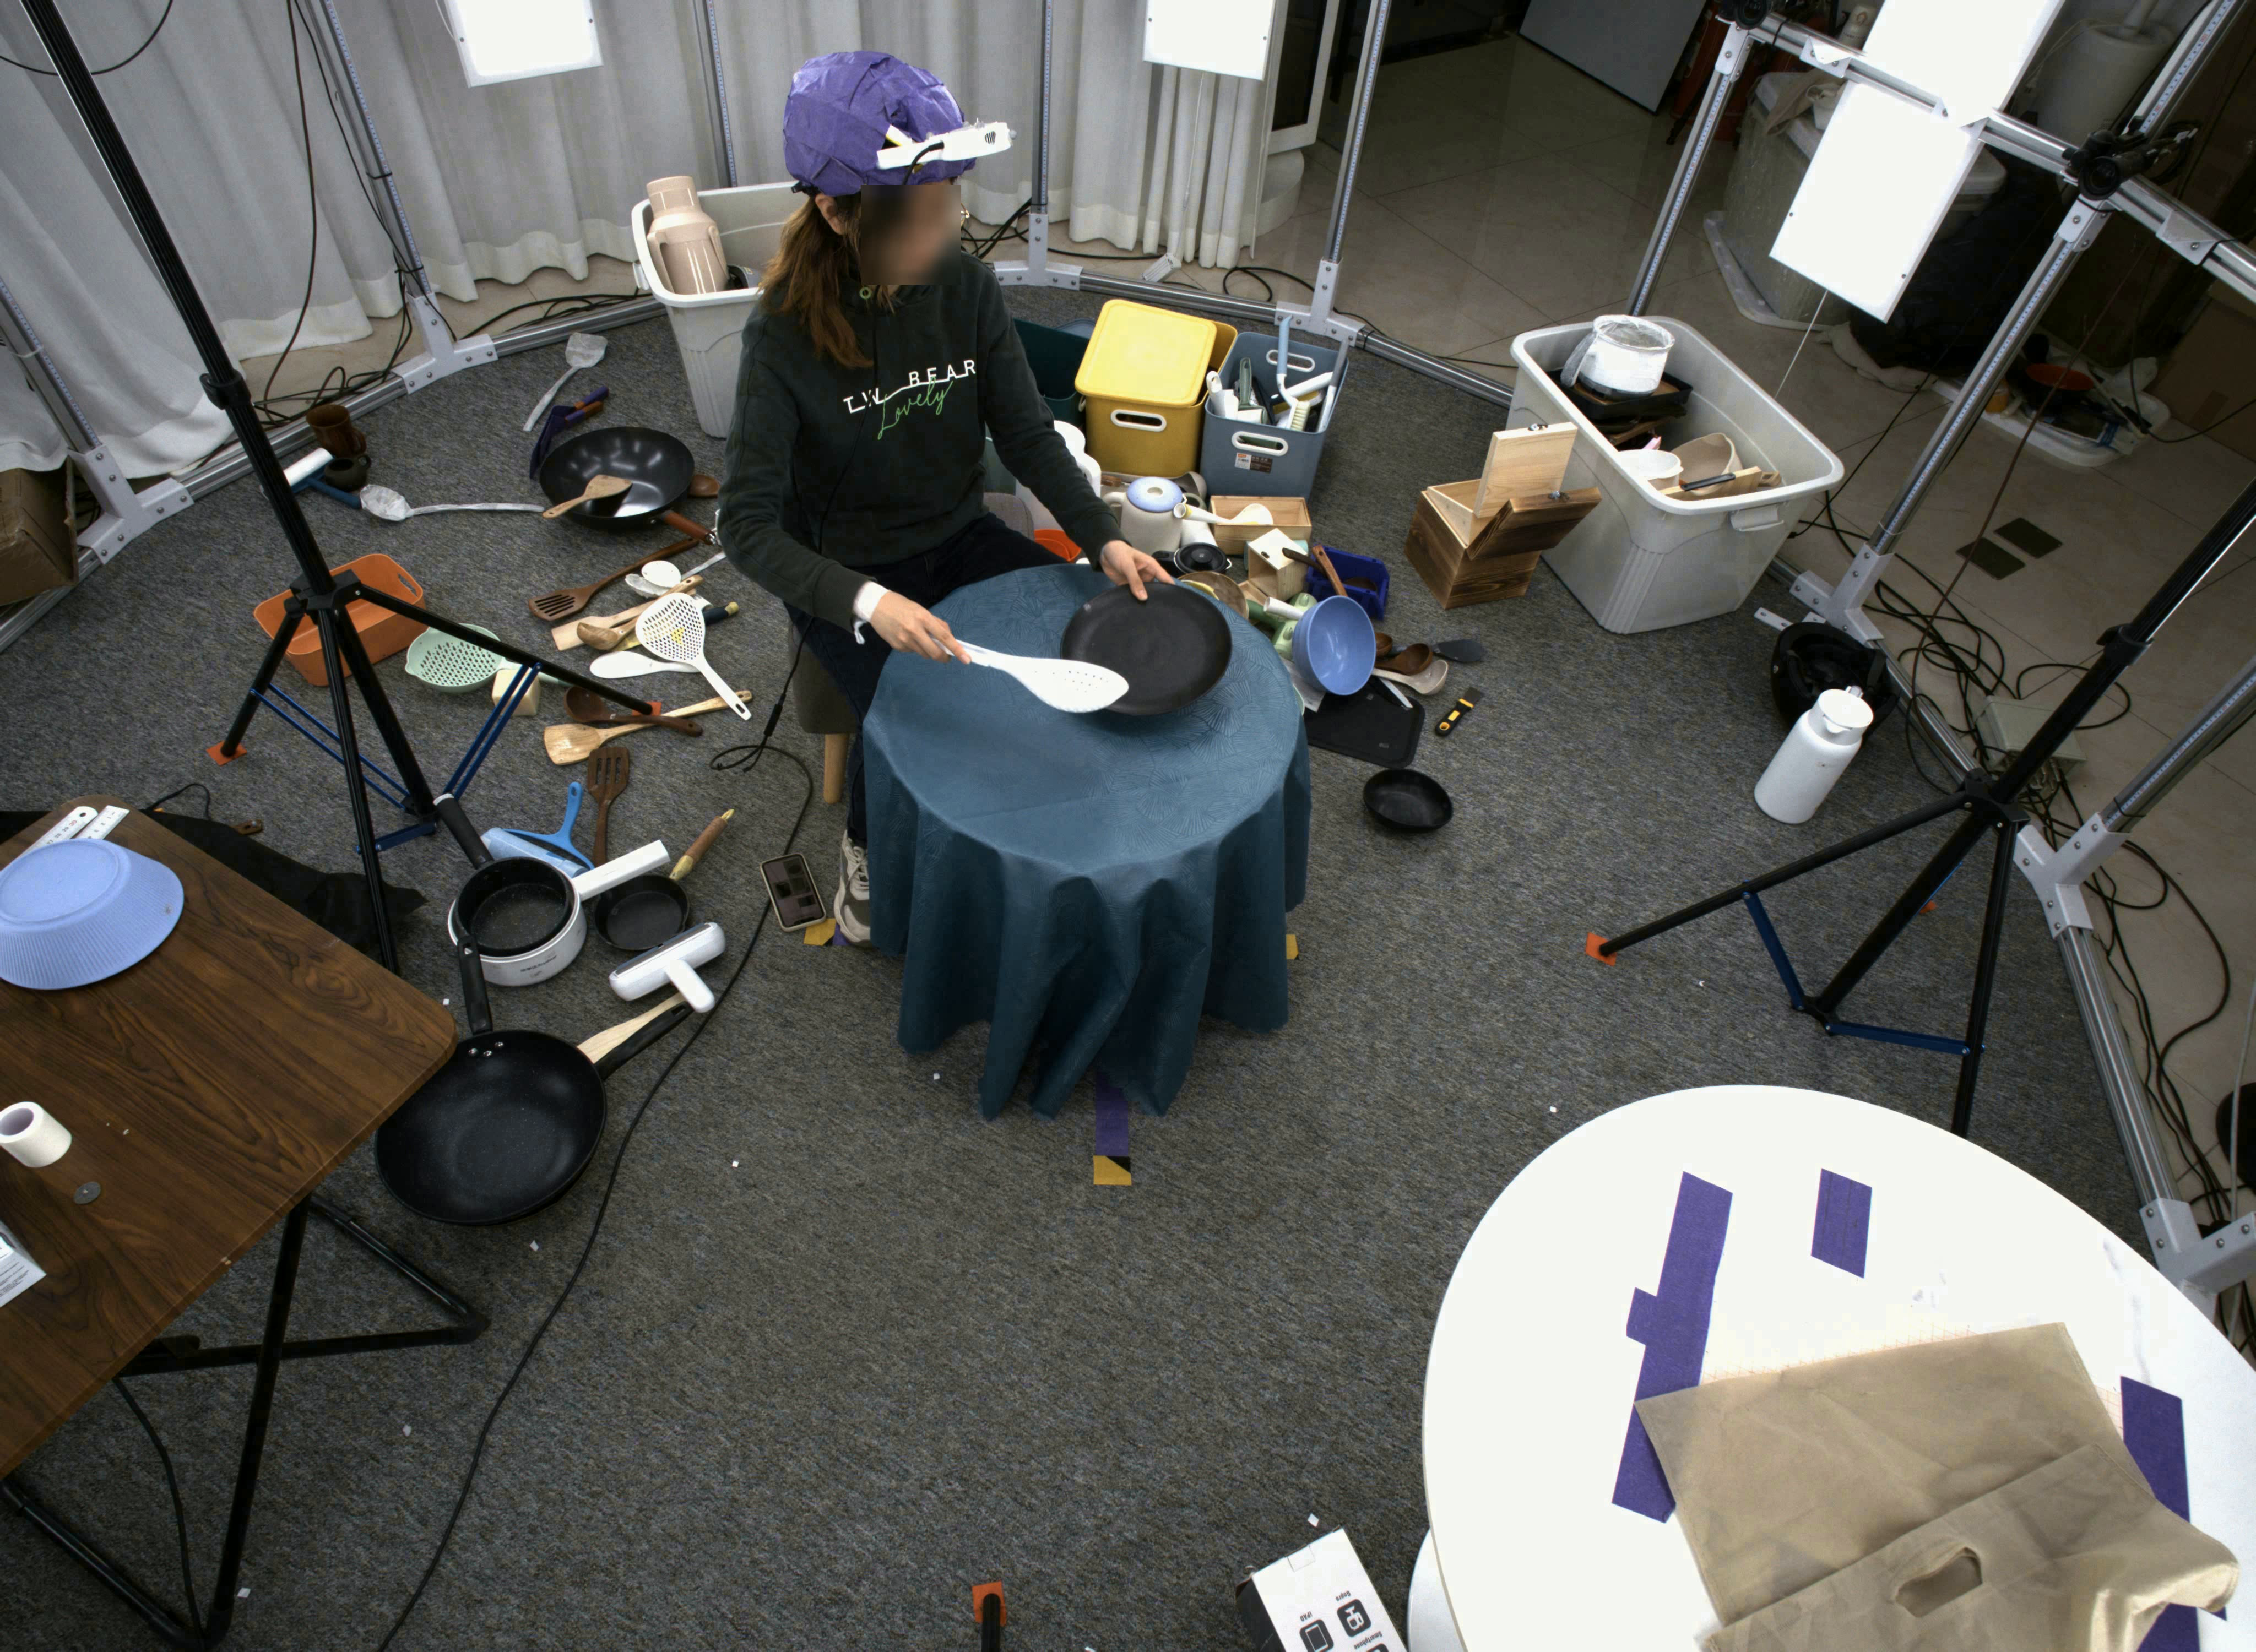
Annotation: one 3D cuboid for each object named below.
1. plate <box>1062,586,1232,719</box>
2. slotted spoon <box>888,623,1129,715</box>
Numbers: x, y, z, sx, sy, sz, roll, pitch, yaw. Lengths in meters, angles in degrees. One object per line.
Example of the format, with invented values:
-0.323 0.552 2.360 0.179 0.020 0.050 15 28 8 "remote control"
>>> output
0.028 -0.247 1.836 0.244 0.023 0.250 -3 56 4 "plate"
-0.163 -0.212 1.680 0.353 0.045 0.137 24 27 19 "slotted spoon"
